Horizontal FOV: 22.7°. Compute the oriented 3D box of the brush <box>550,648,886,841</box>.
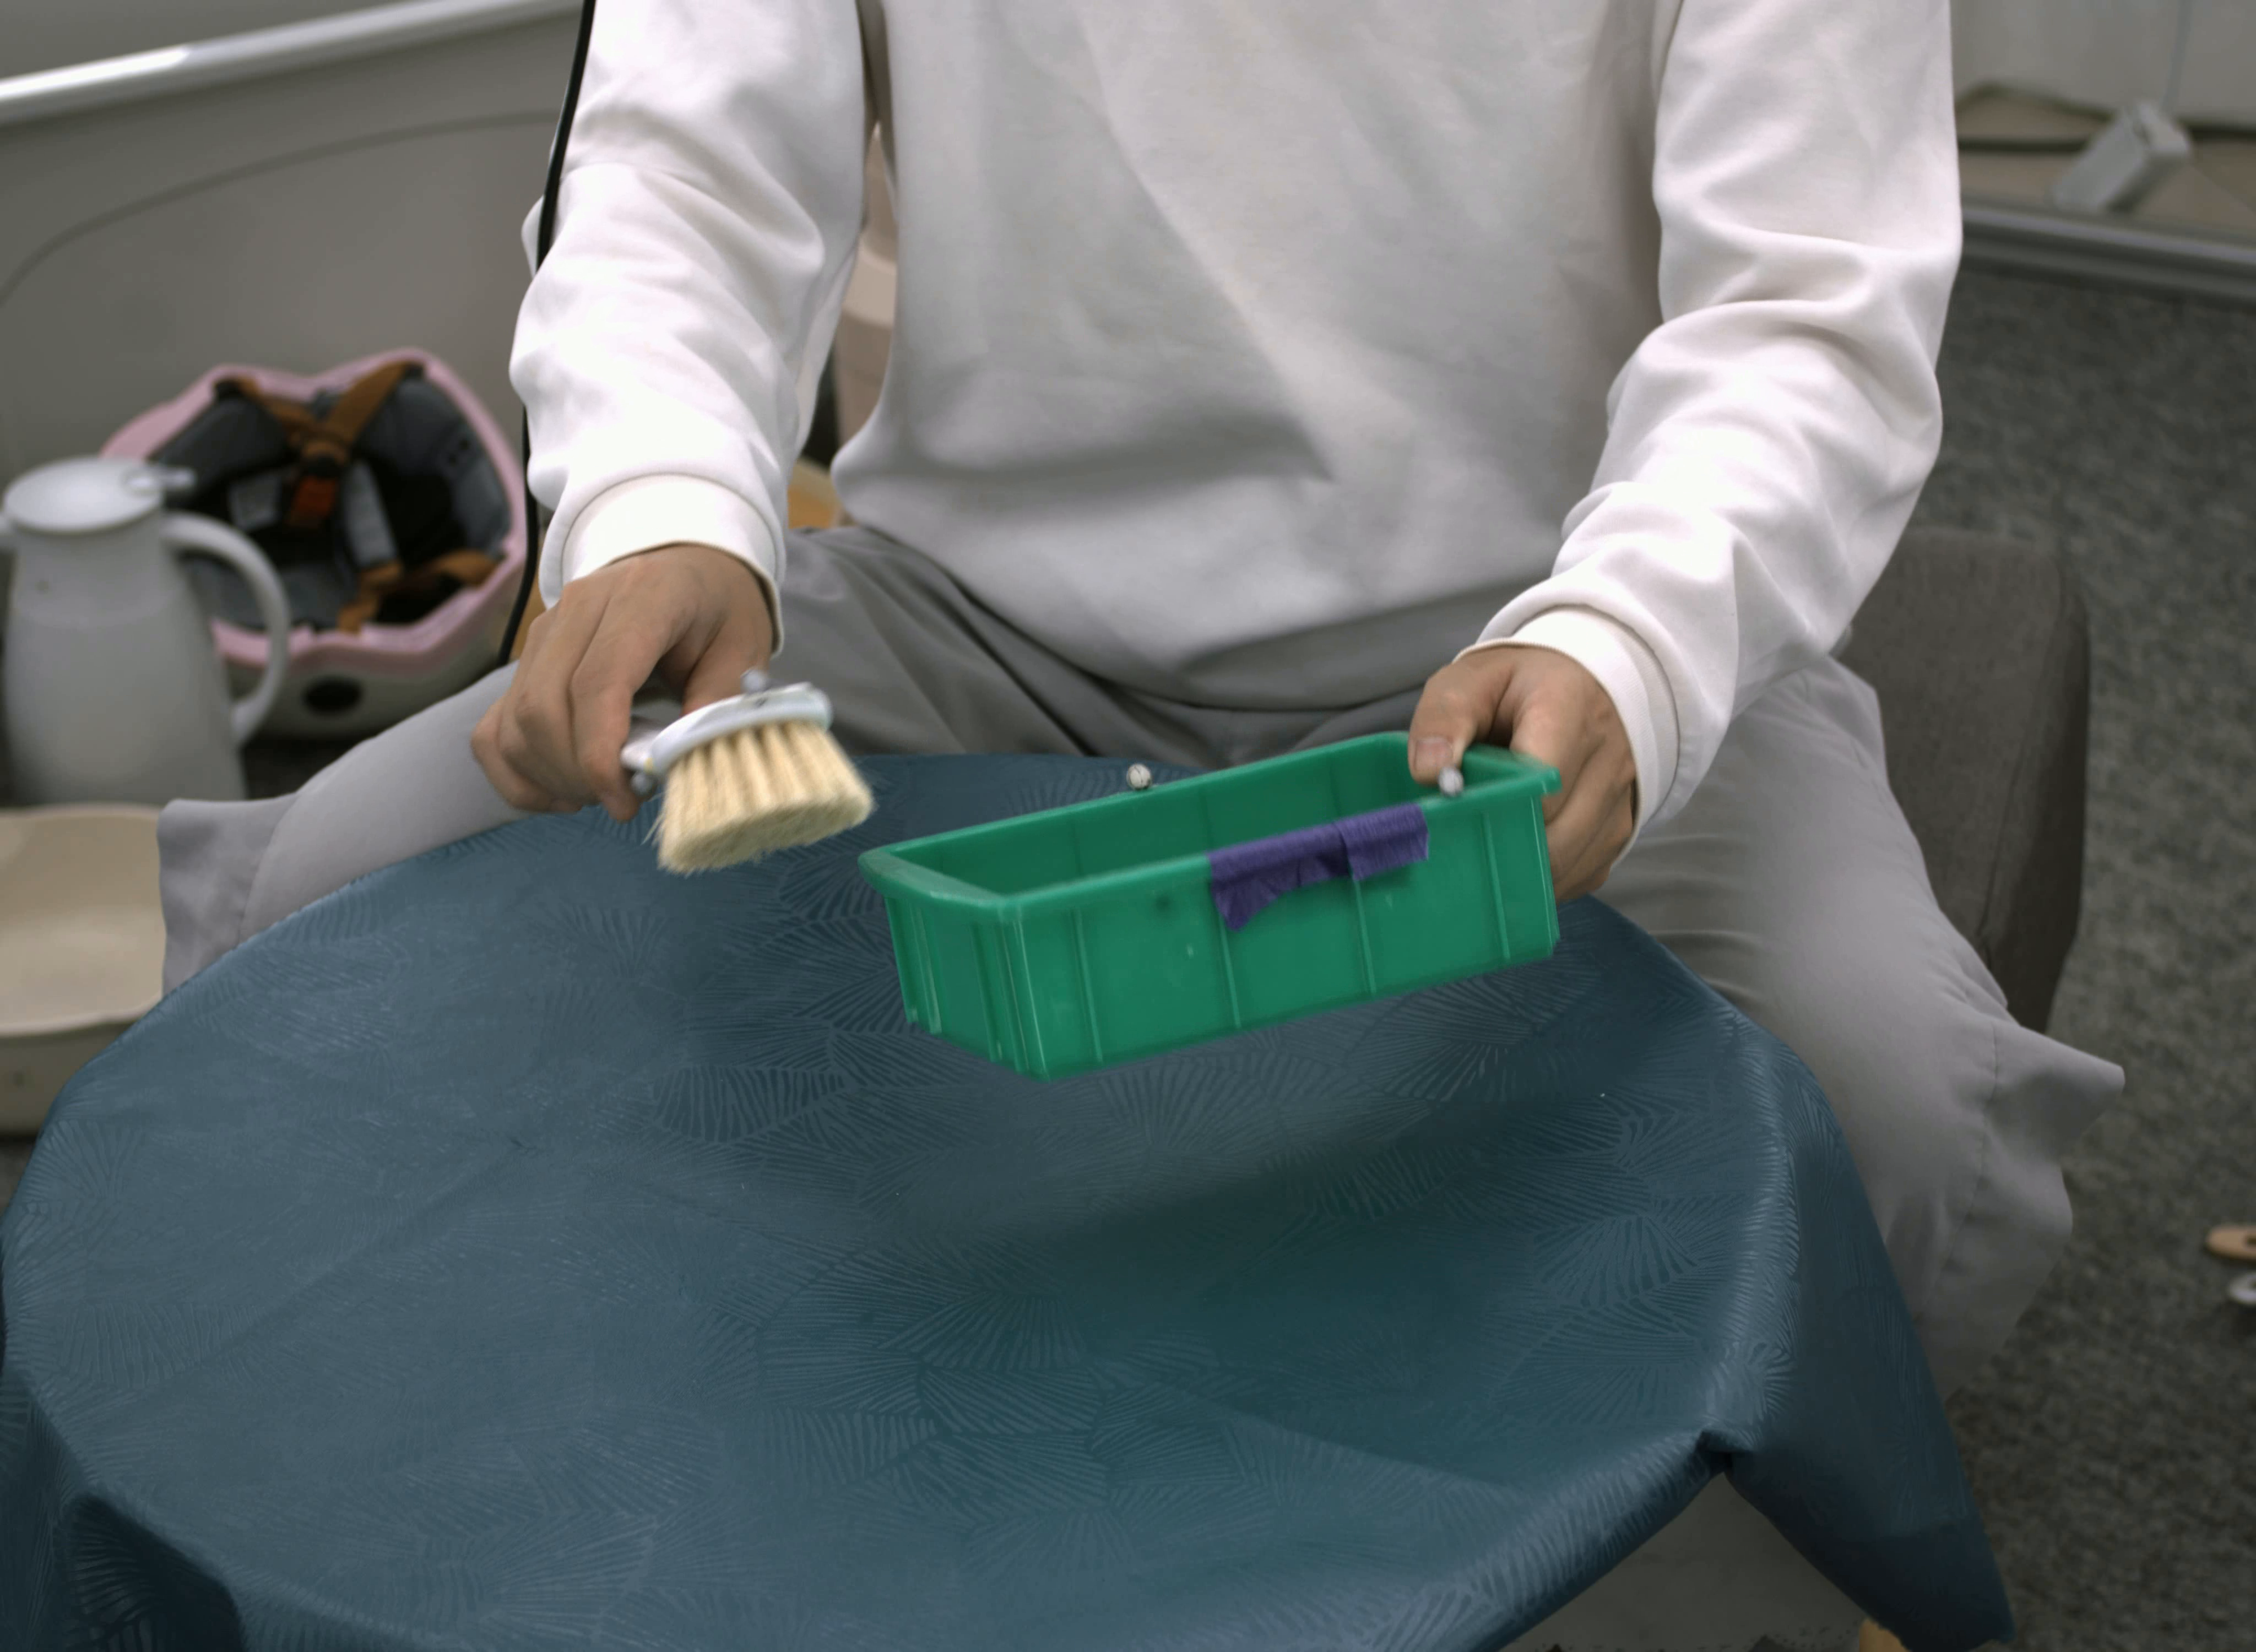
[{"bbox_3d":[-0.147,-0.016,1.885,0.068,0.056,0.264,2,-6,-21],"label":"brush"}]

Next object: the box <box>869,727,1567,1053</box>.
[{"bbox_3d":[0.032,0.020,1.816,0.211,0.065,0.138,-11,10,-21],"label":"box"}]
